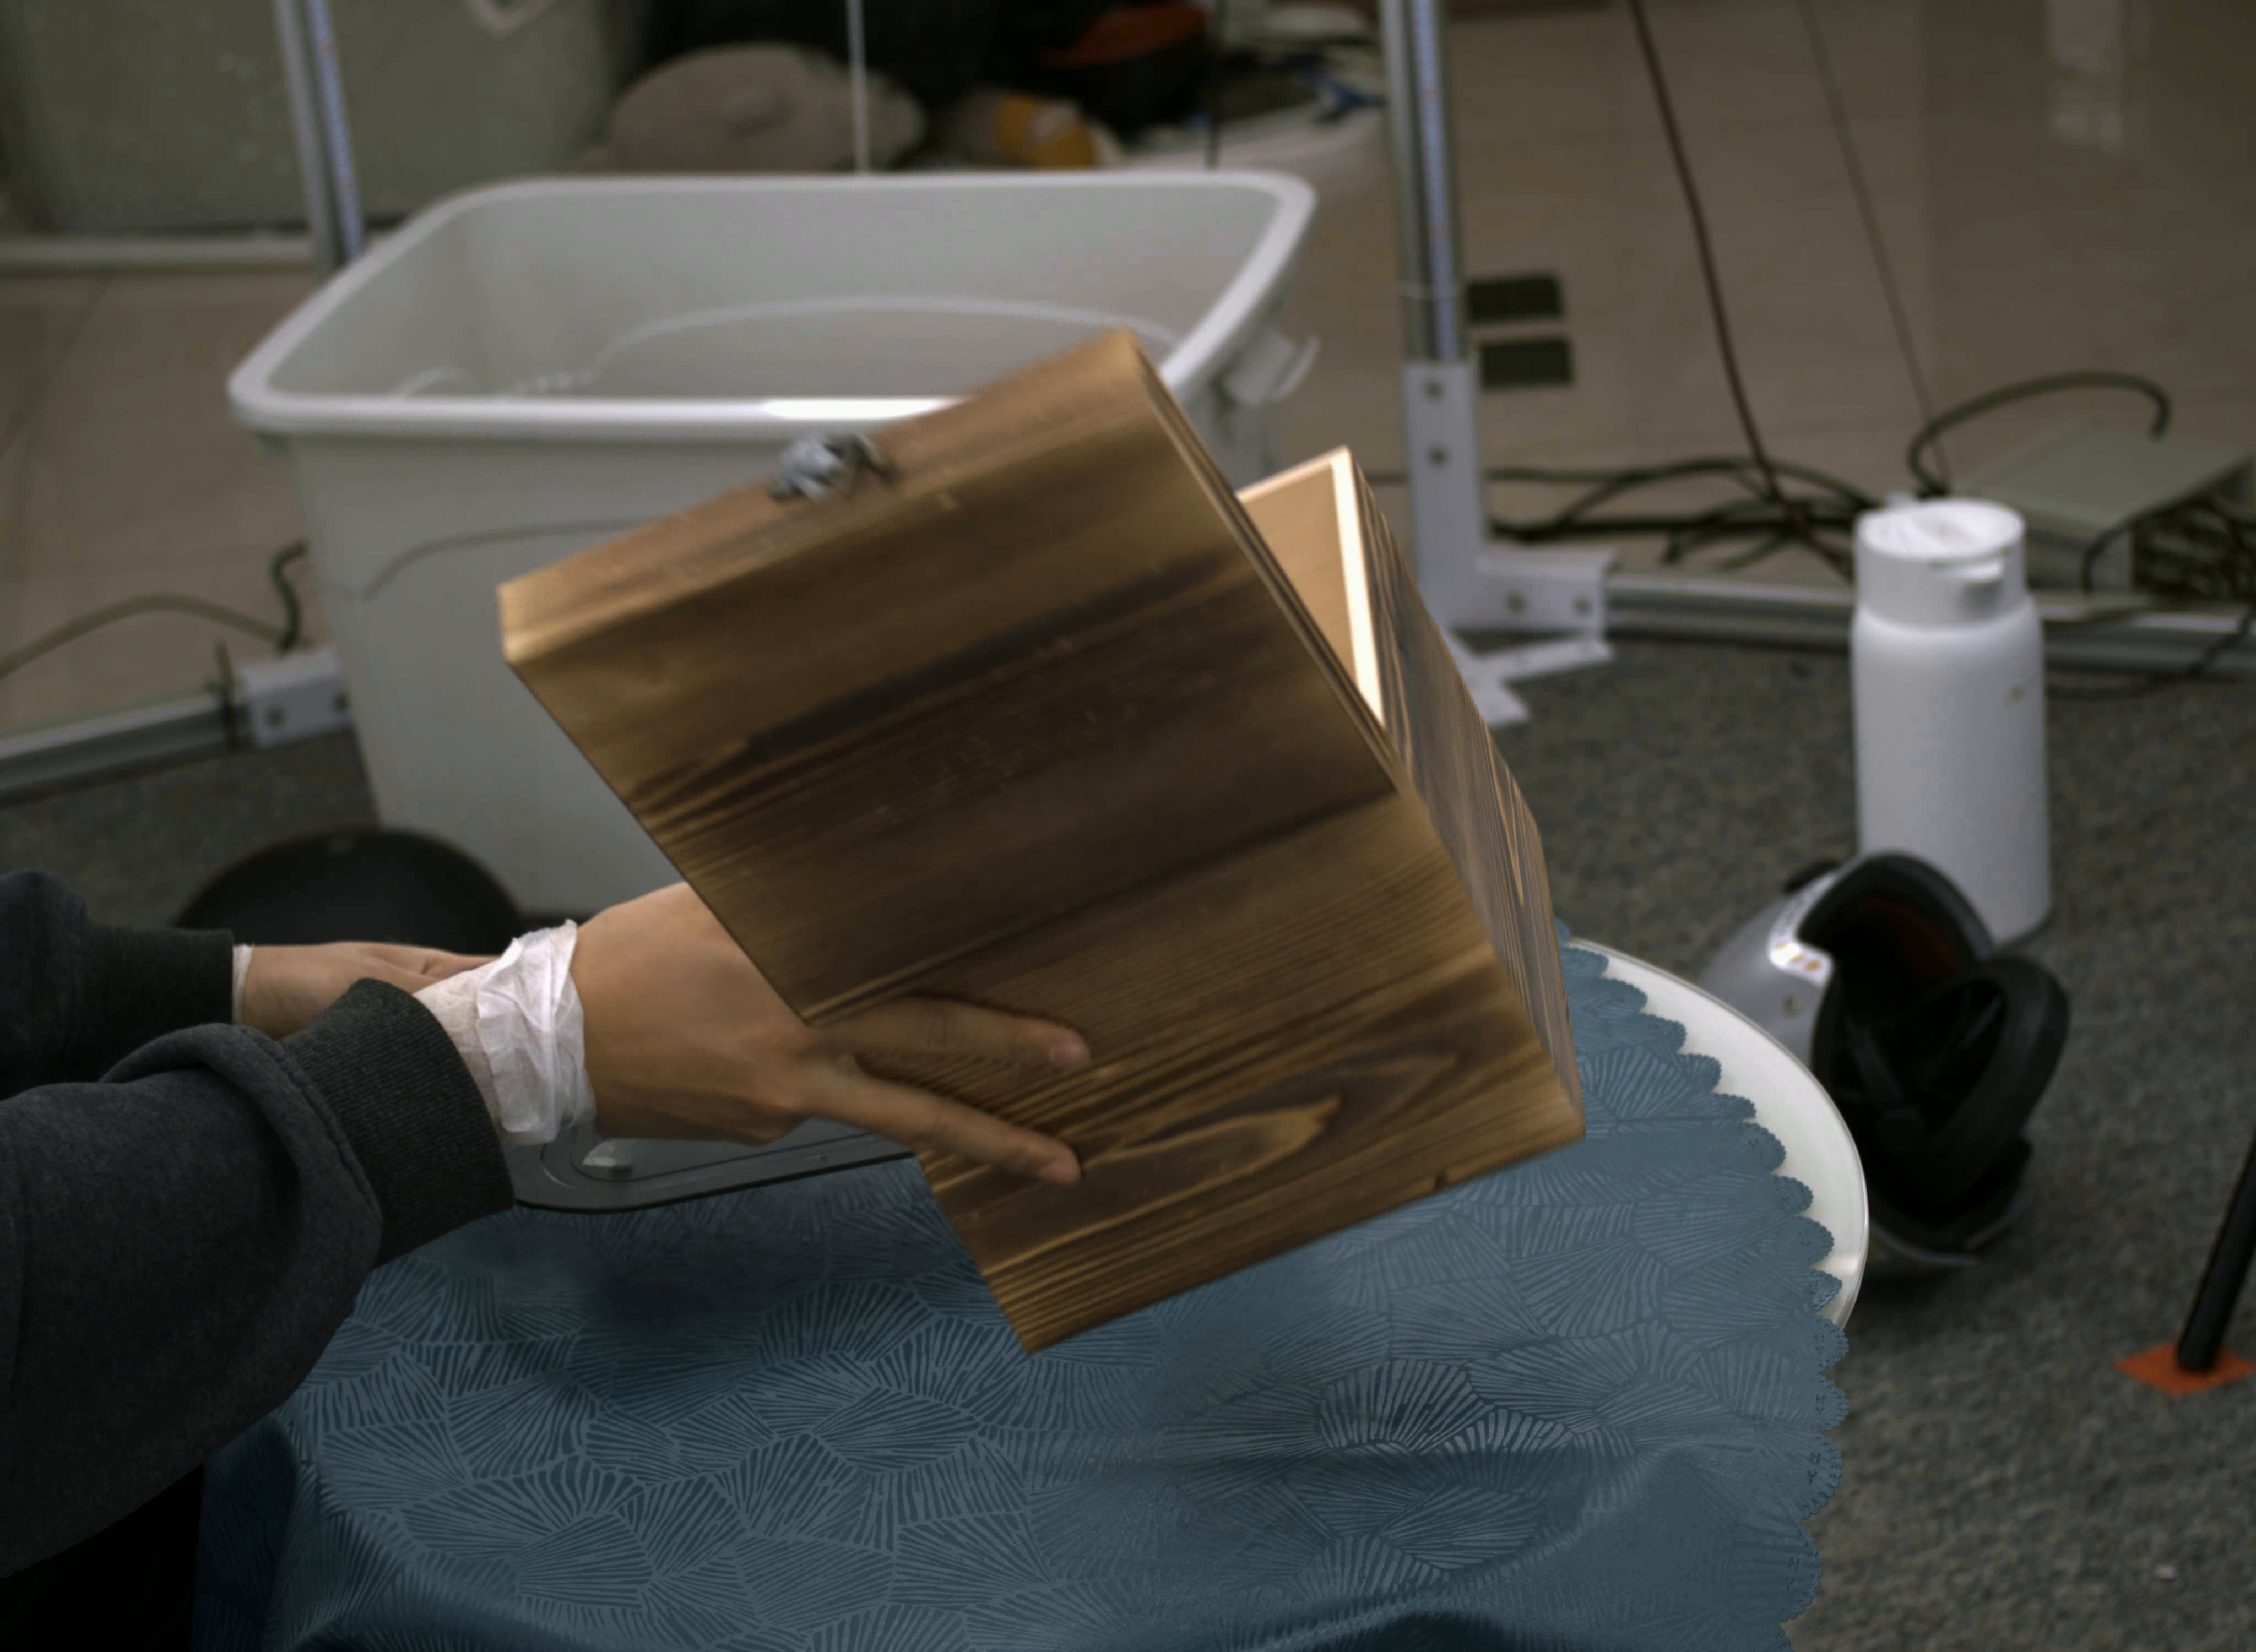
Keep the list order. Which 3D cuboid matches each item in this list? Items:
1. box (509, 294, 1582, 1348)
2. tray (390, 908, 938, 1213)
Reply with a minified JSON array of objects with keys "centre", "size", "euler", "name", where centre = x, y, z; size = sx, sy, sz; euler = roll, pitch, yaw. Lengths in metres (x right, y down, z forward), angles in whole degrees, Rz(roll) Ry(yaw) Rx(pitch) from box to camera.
[{"centre":[-0.018,-0.031,1.806],"size":[0.209,0.381,0.317],"euler":[-23,29,11],"name":"box"},{"centre":[-0.117,0.076,2.156],"size":[0.324,0.010,0.208],"euler":[-10,28,-18],"name":"tray"}]
